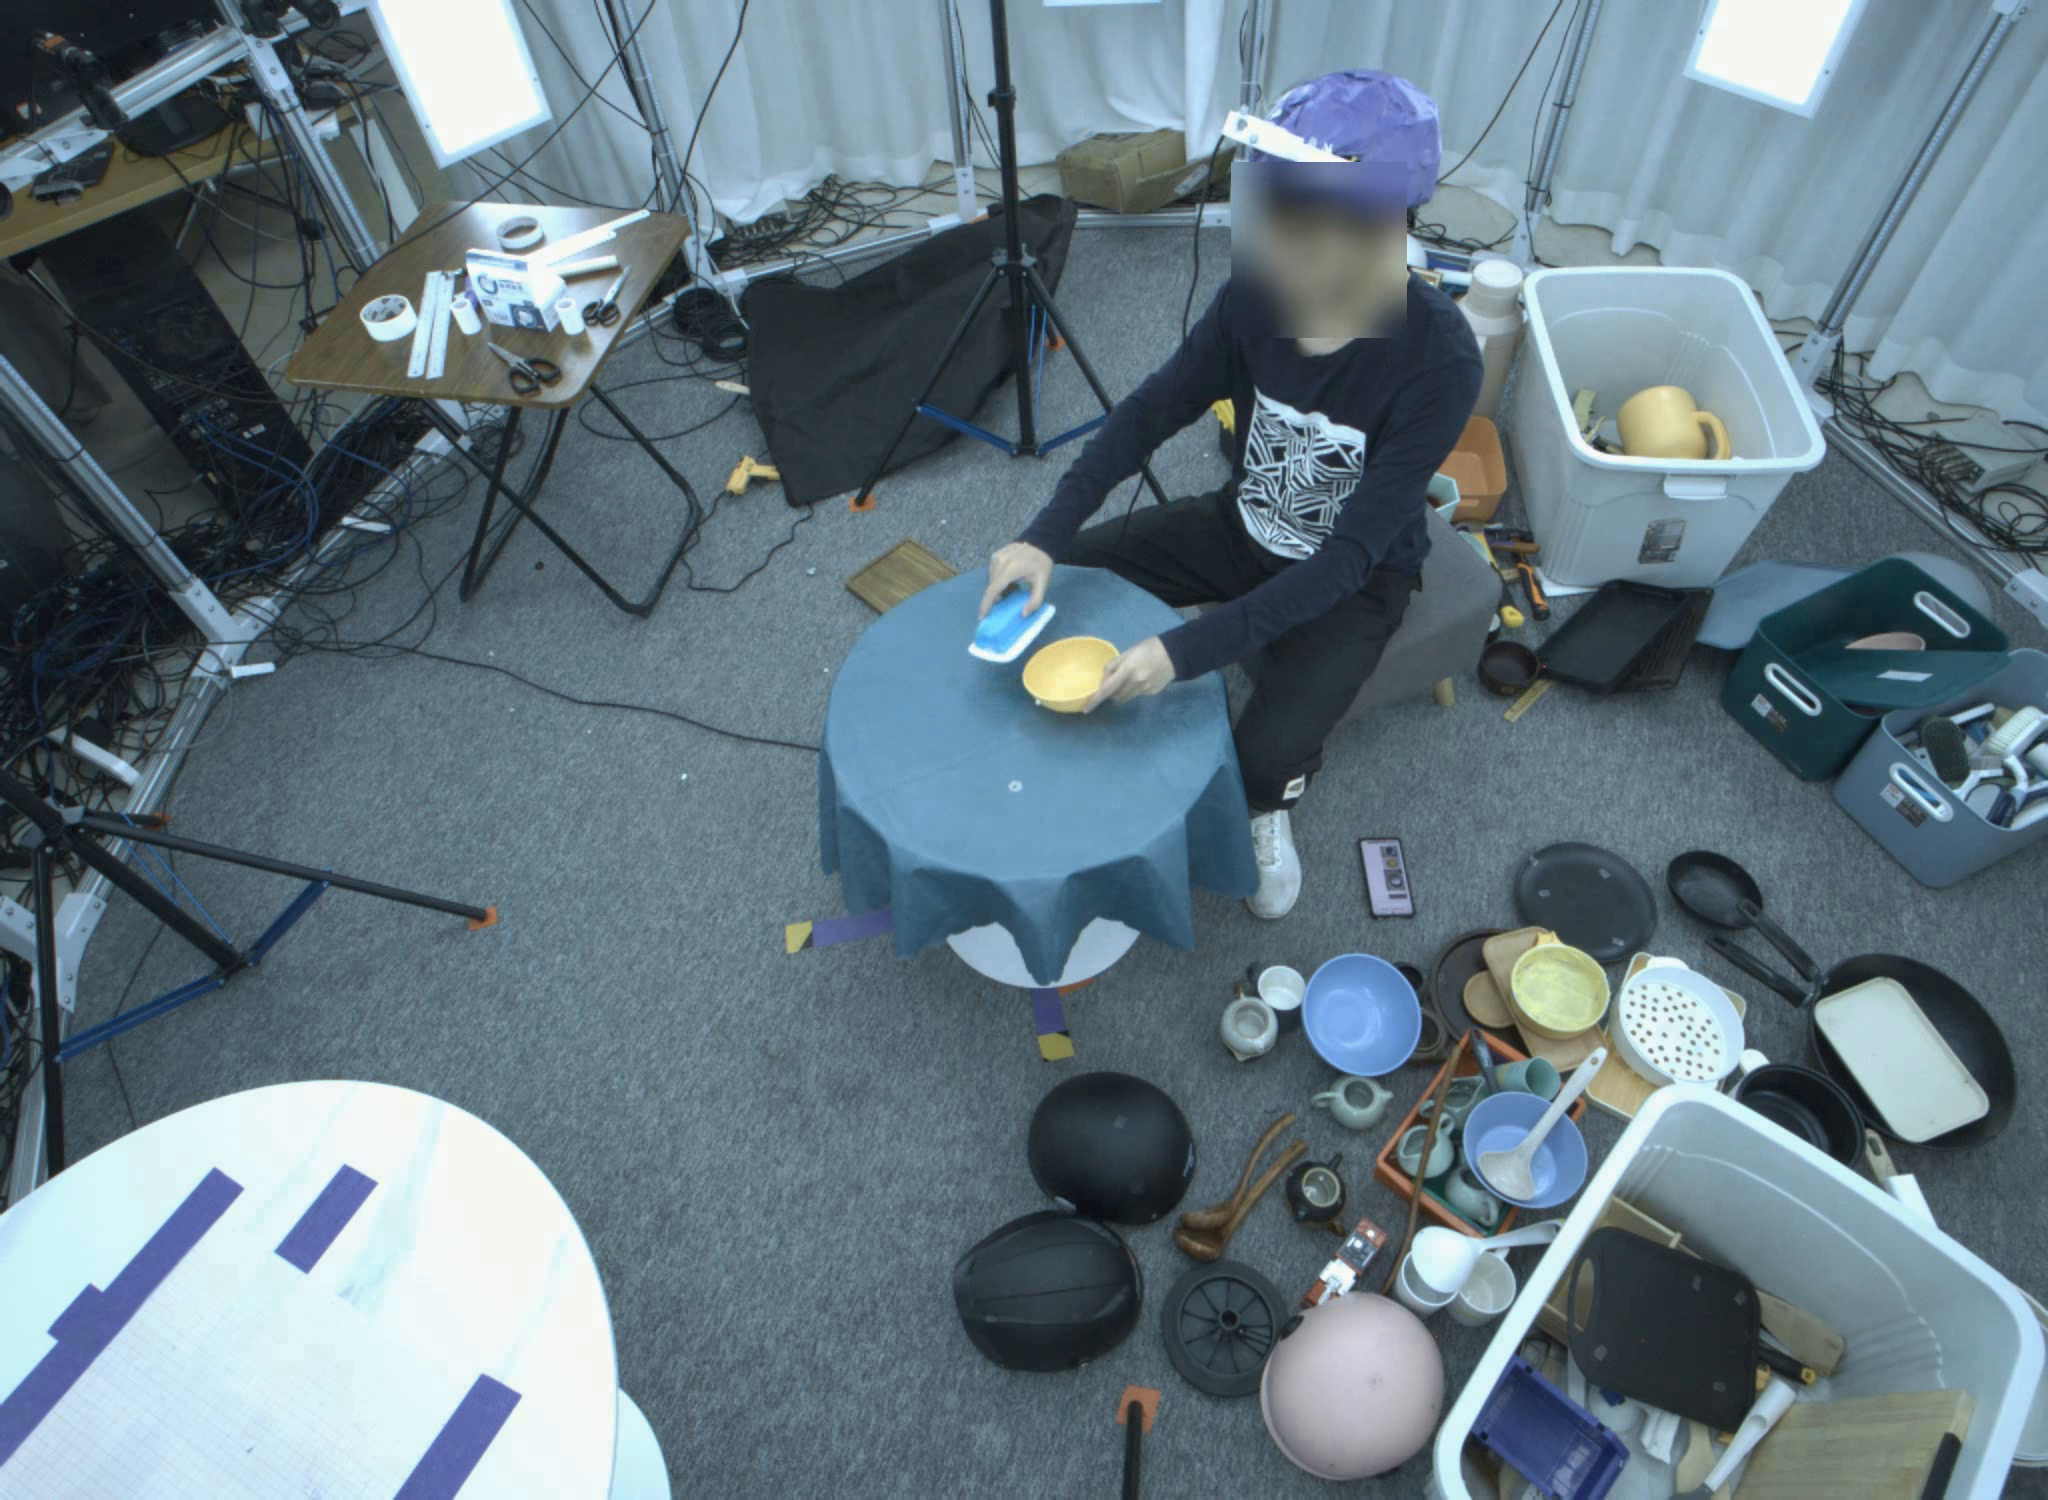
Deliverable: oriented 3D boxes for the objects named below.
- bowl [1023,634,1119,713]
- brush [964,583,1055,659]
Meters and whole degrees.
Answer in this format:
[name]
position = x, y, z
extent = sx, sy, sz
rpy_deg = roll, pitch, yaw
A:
[bowl]
position = 0.074, -0.100, 1.803
extent = 0.144, 0.061, 0.144
rpy_deg = -8, 46, 10
[brush]
position = -0.023, -0.198, 1.811
extent = 0.082, 0.057, 0.145
rpy_deg = 22, 55, 30
